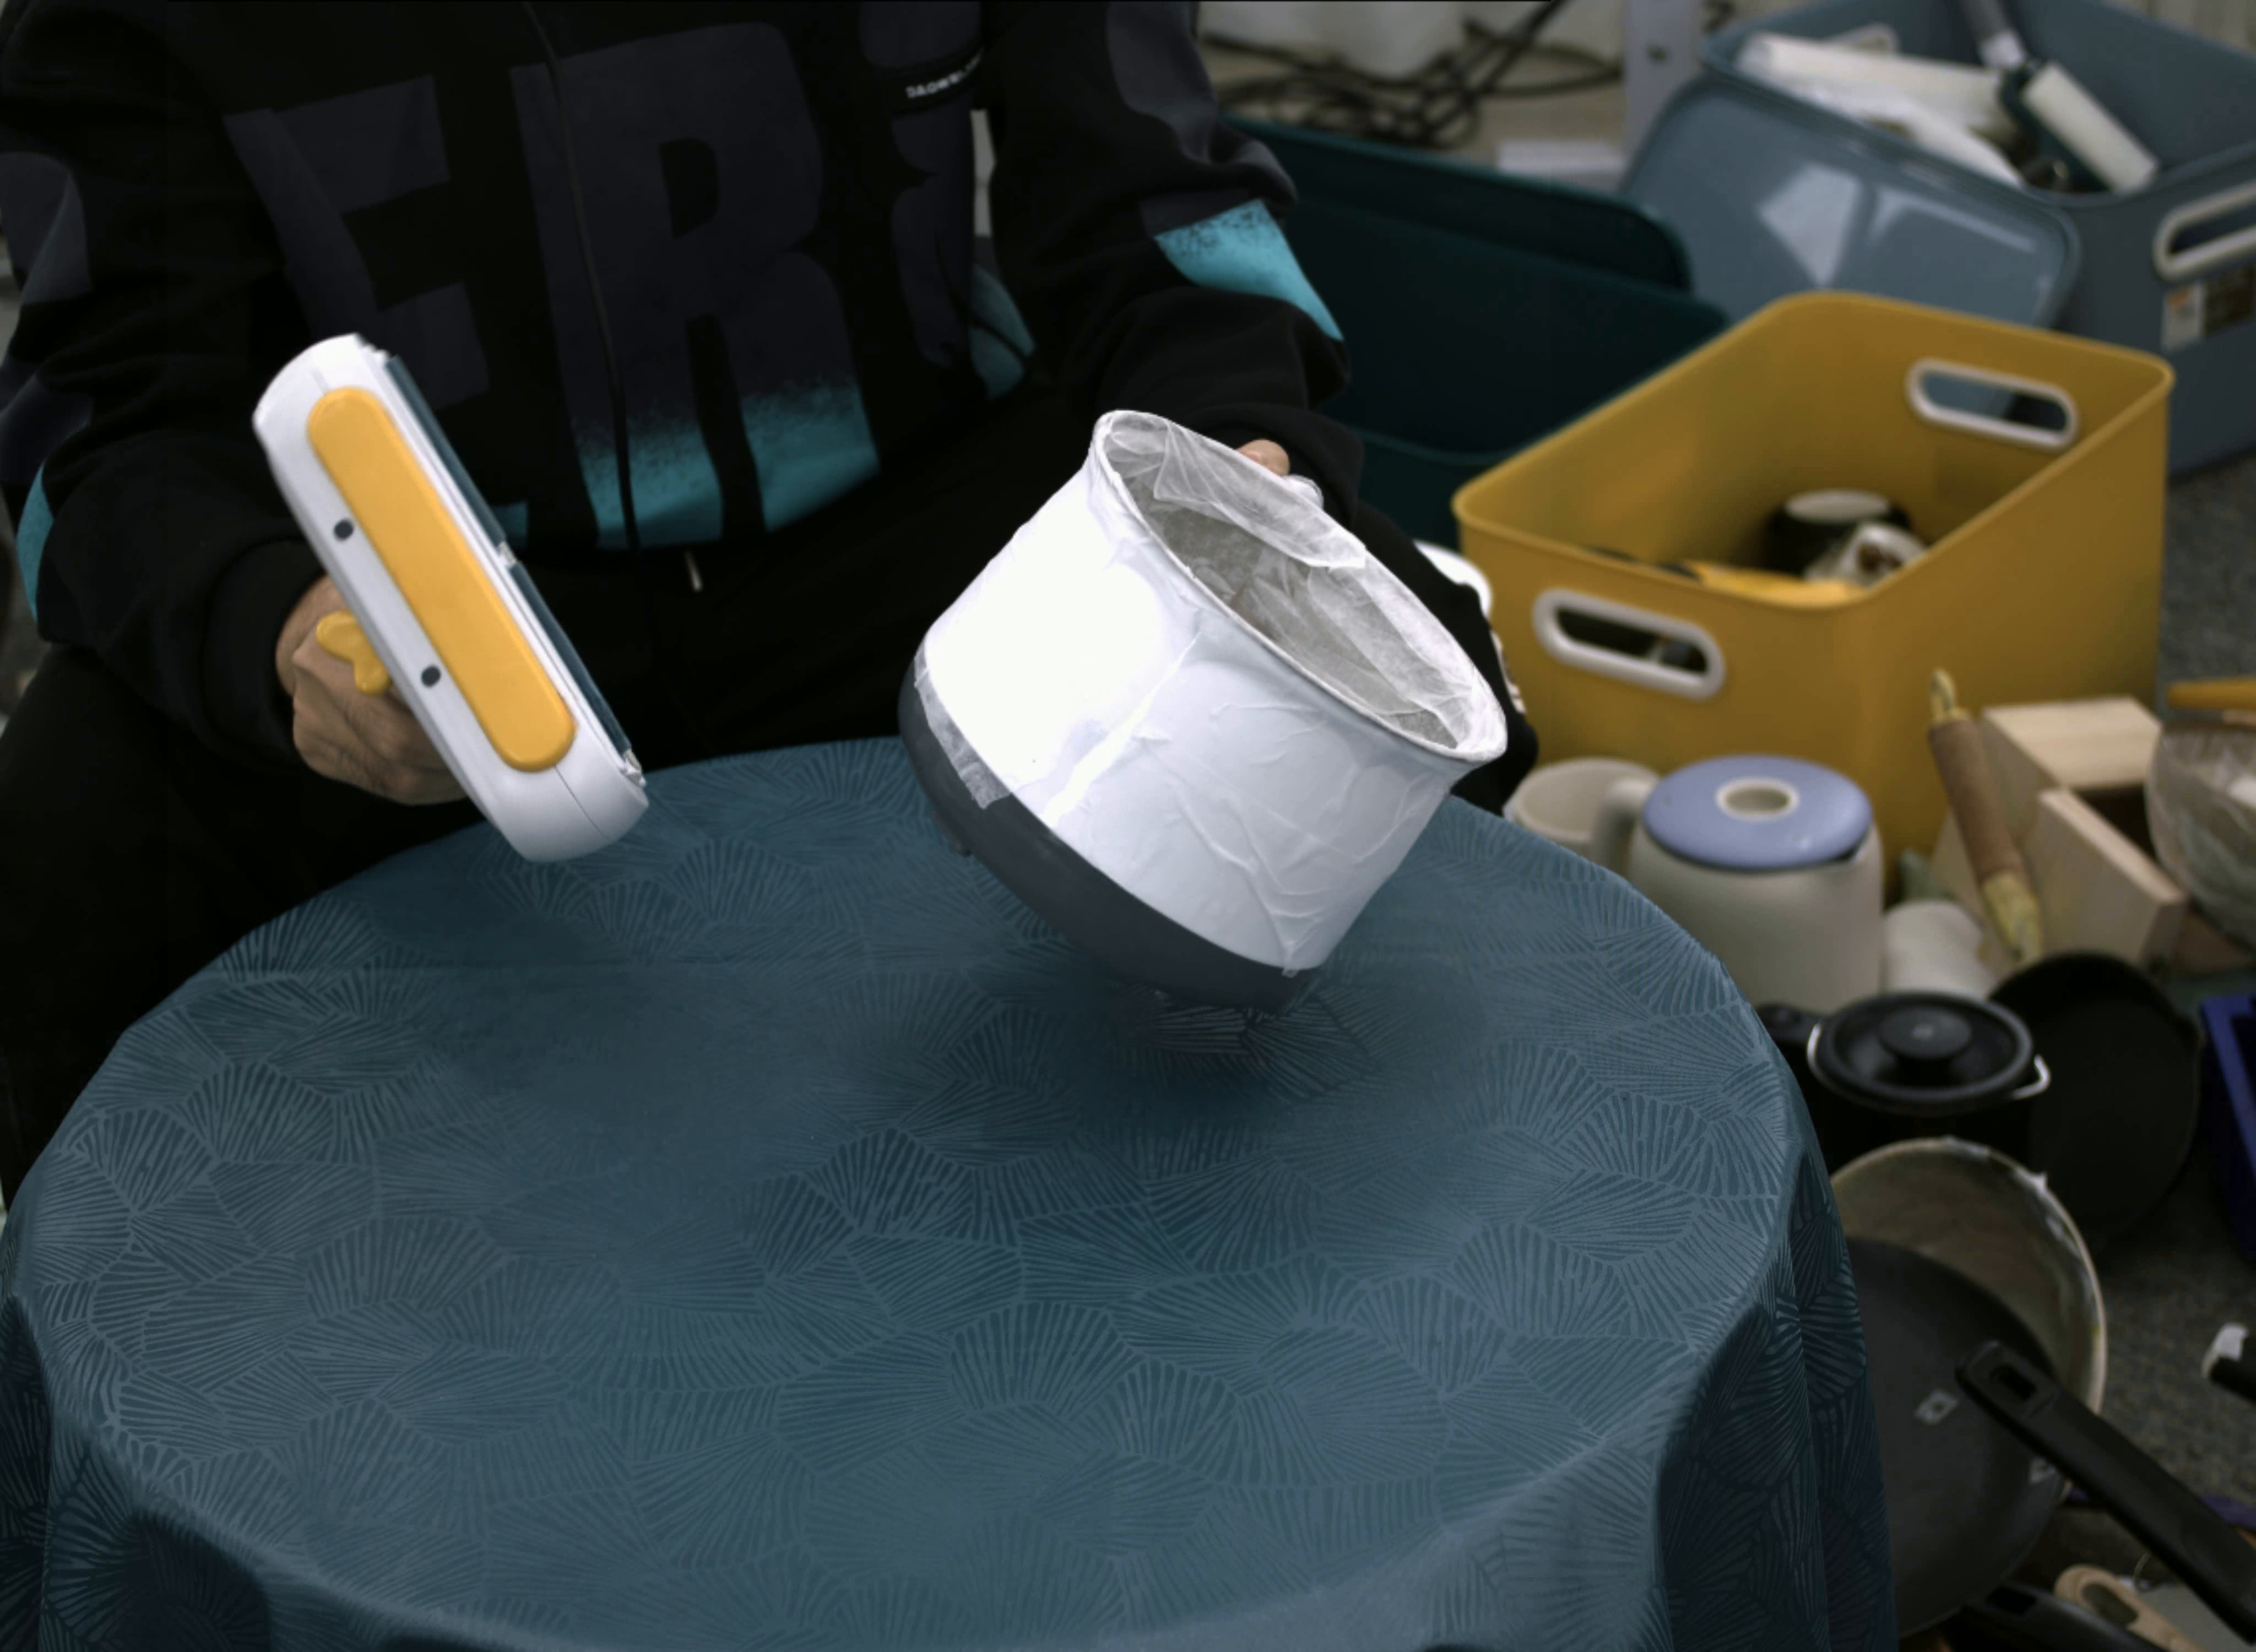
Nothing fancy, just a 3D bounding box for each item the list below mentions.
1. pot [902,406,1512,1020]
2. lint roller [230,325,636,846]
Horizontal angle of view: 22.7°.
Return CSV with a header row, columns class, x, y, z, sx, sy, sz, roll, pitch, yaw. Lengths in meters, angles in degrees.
class,x,y,z,sx,sy,sz,roll,pitch,yaw
pot,0.023,-0.046,1.932,0.178,0.135,0.237,38,18,-12
lint roller,-0.235,-0.059,1.913,0.074,0.190,0.194,-36,77,-10
